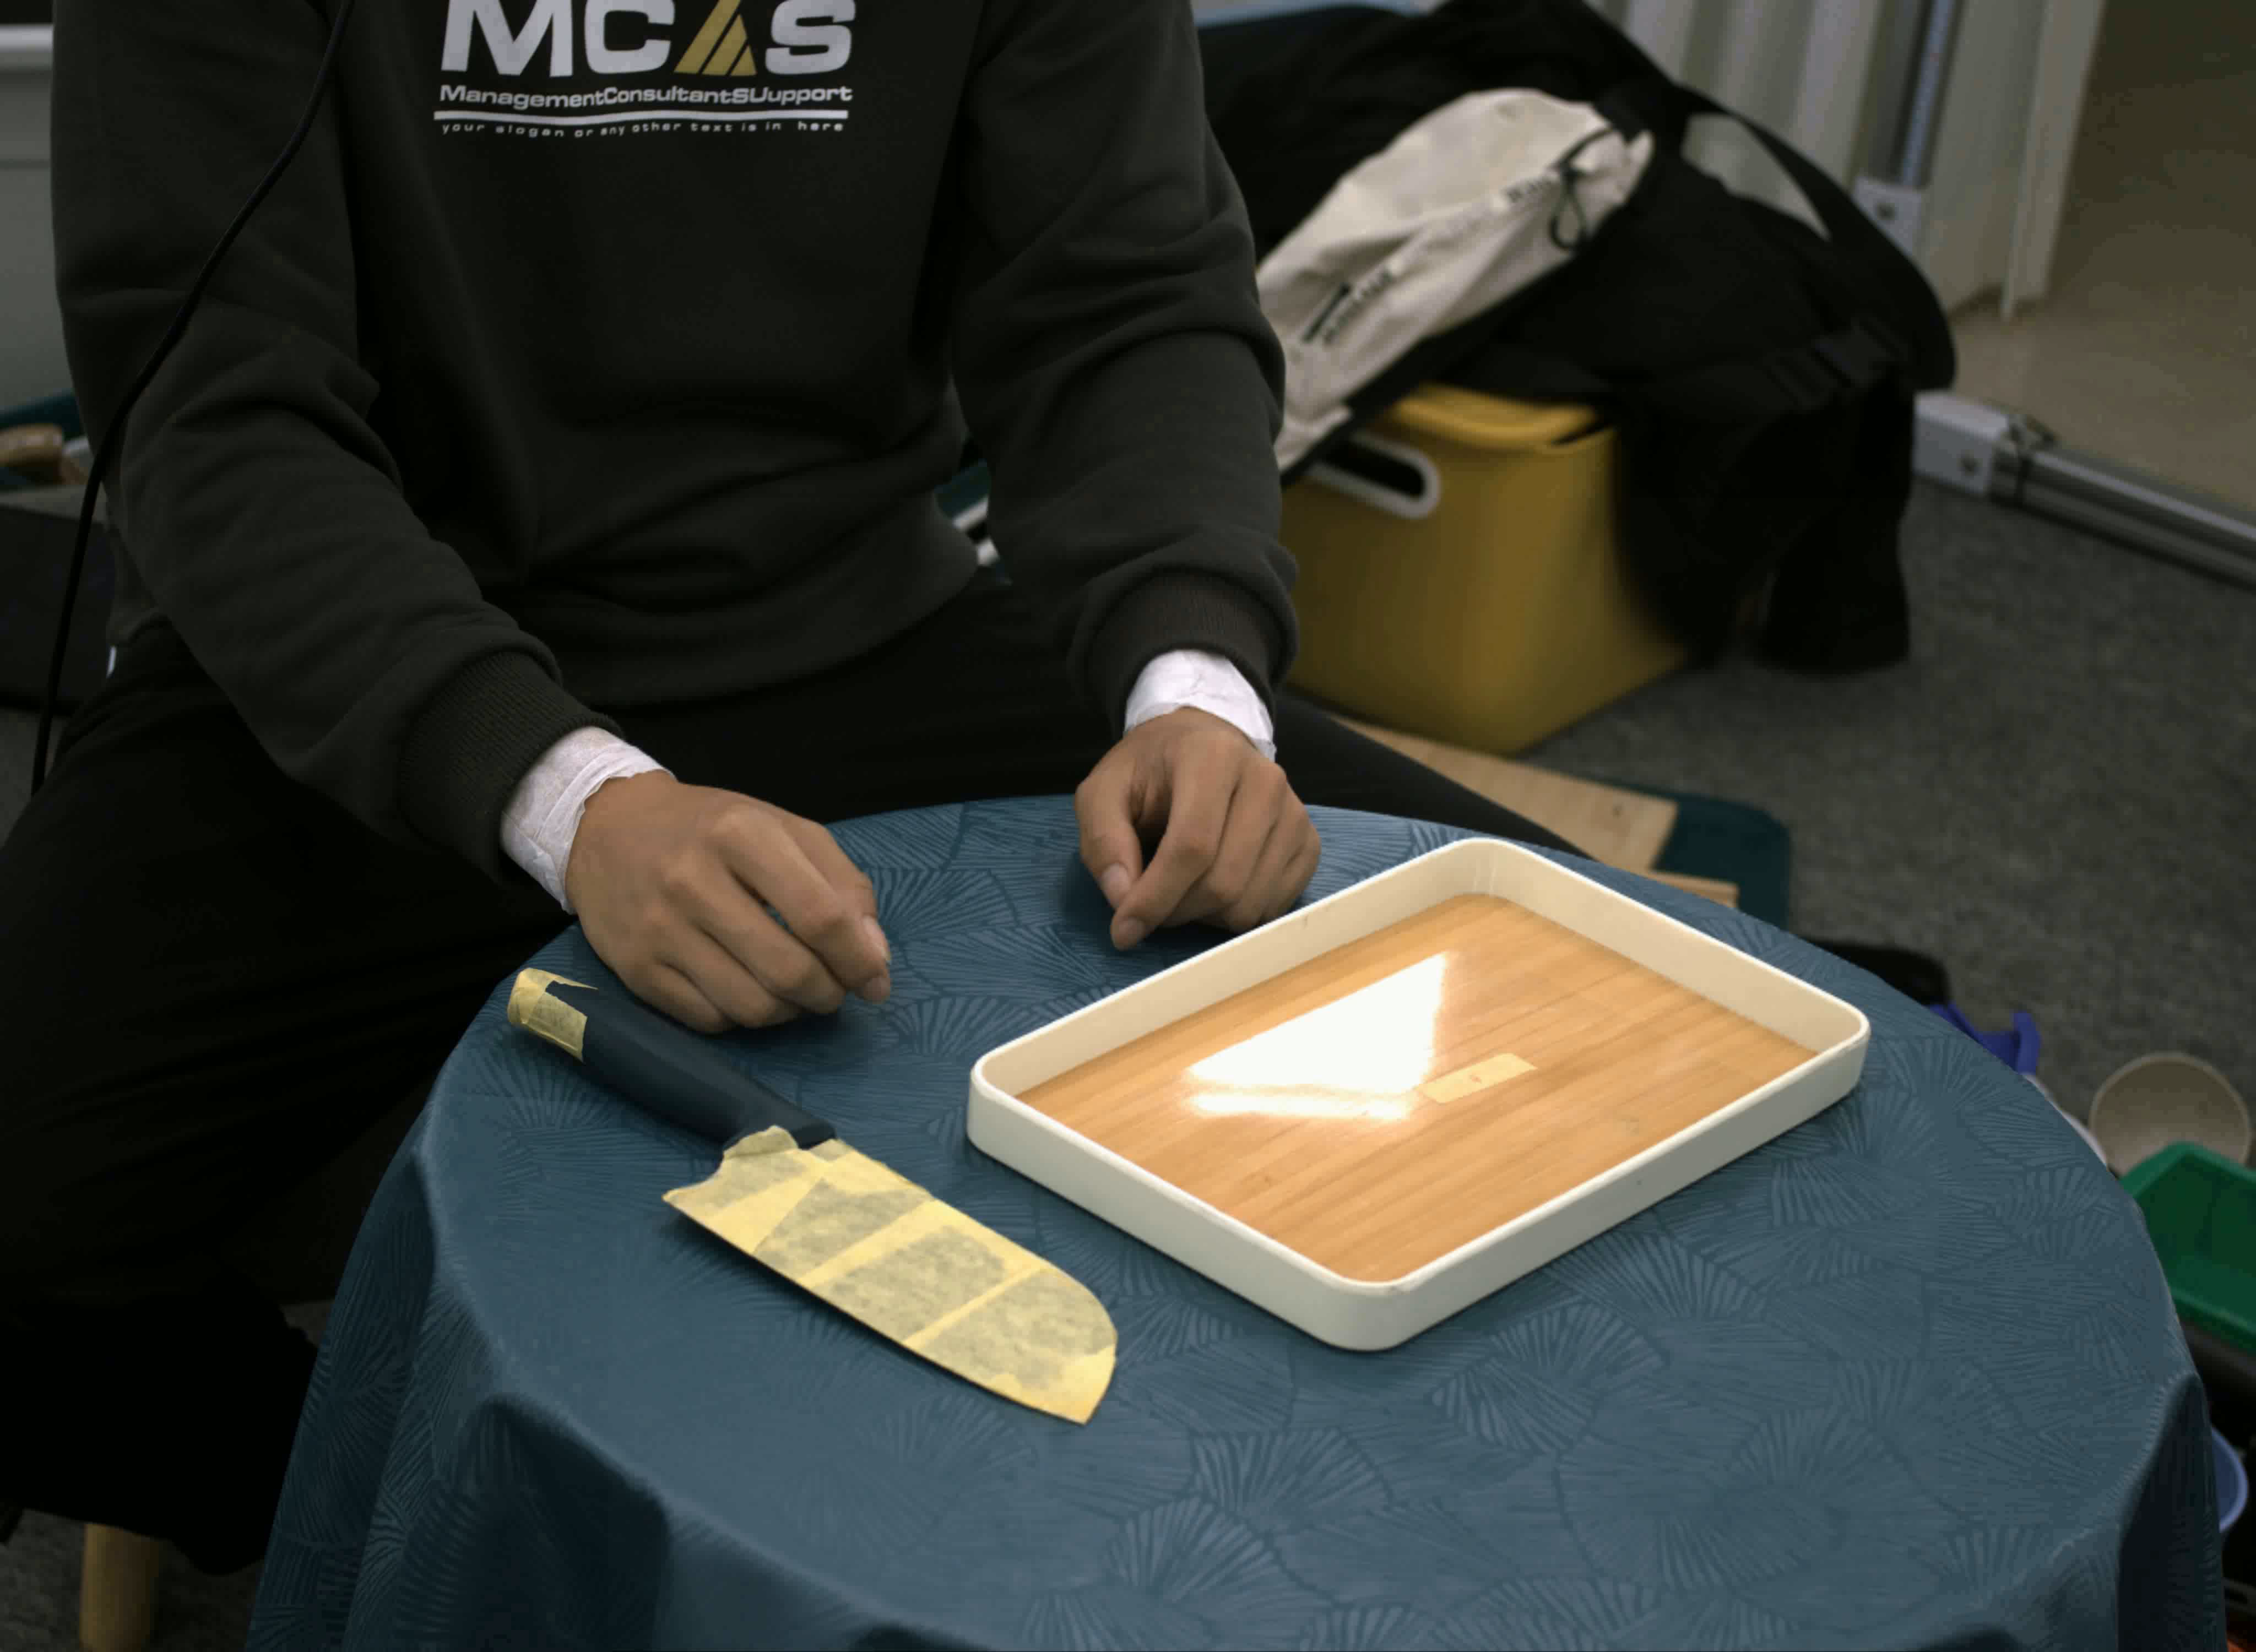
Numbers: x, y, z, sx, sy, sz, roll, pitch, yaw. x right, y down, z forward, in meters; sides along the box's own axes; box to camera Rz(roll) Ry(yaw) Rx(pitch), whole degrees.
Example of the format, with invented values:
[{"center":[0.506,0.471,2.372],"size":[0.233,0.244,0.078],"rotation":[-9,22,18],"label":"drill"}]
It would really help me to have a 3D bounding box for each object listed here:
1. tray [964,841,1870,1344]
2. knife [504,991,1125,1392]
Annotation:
[{"center":[0.105,0.088,1.871],"size":[0.193,0.027,0.299],"rotation":[26,32,35],"label":"tray"},{"center":[-0.113,0.122,1.766],"size":[0.291,0.027,0.080],"rotation":[27,32,34],"label":"knife"}]
